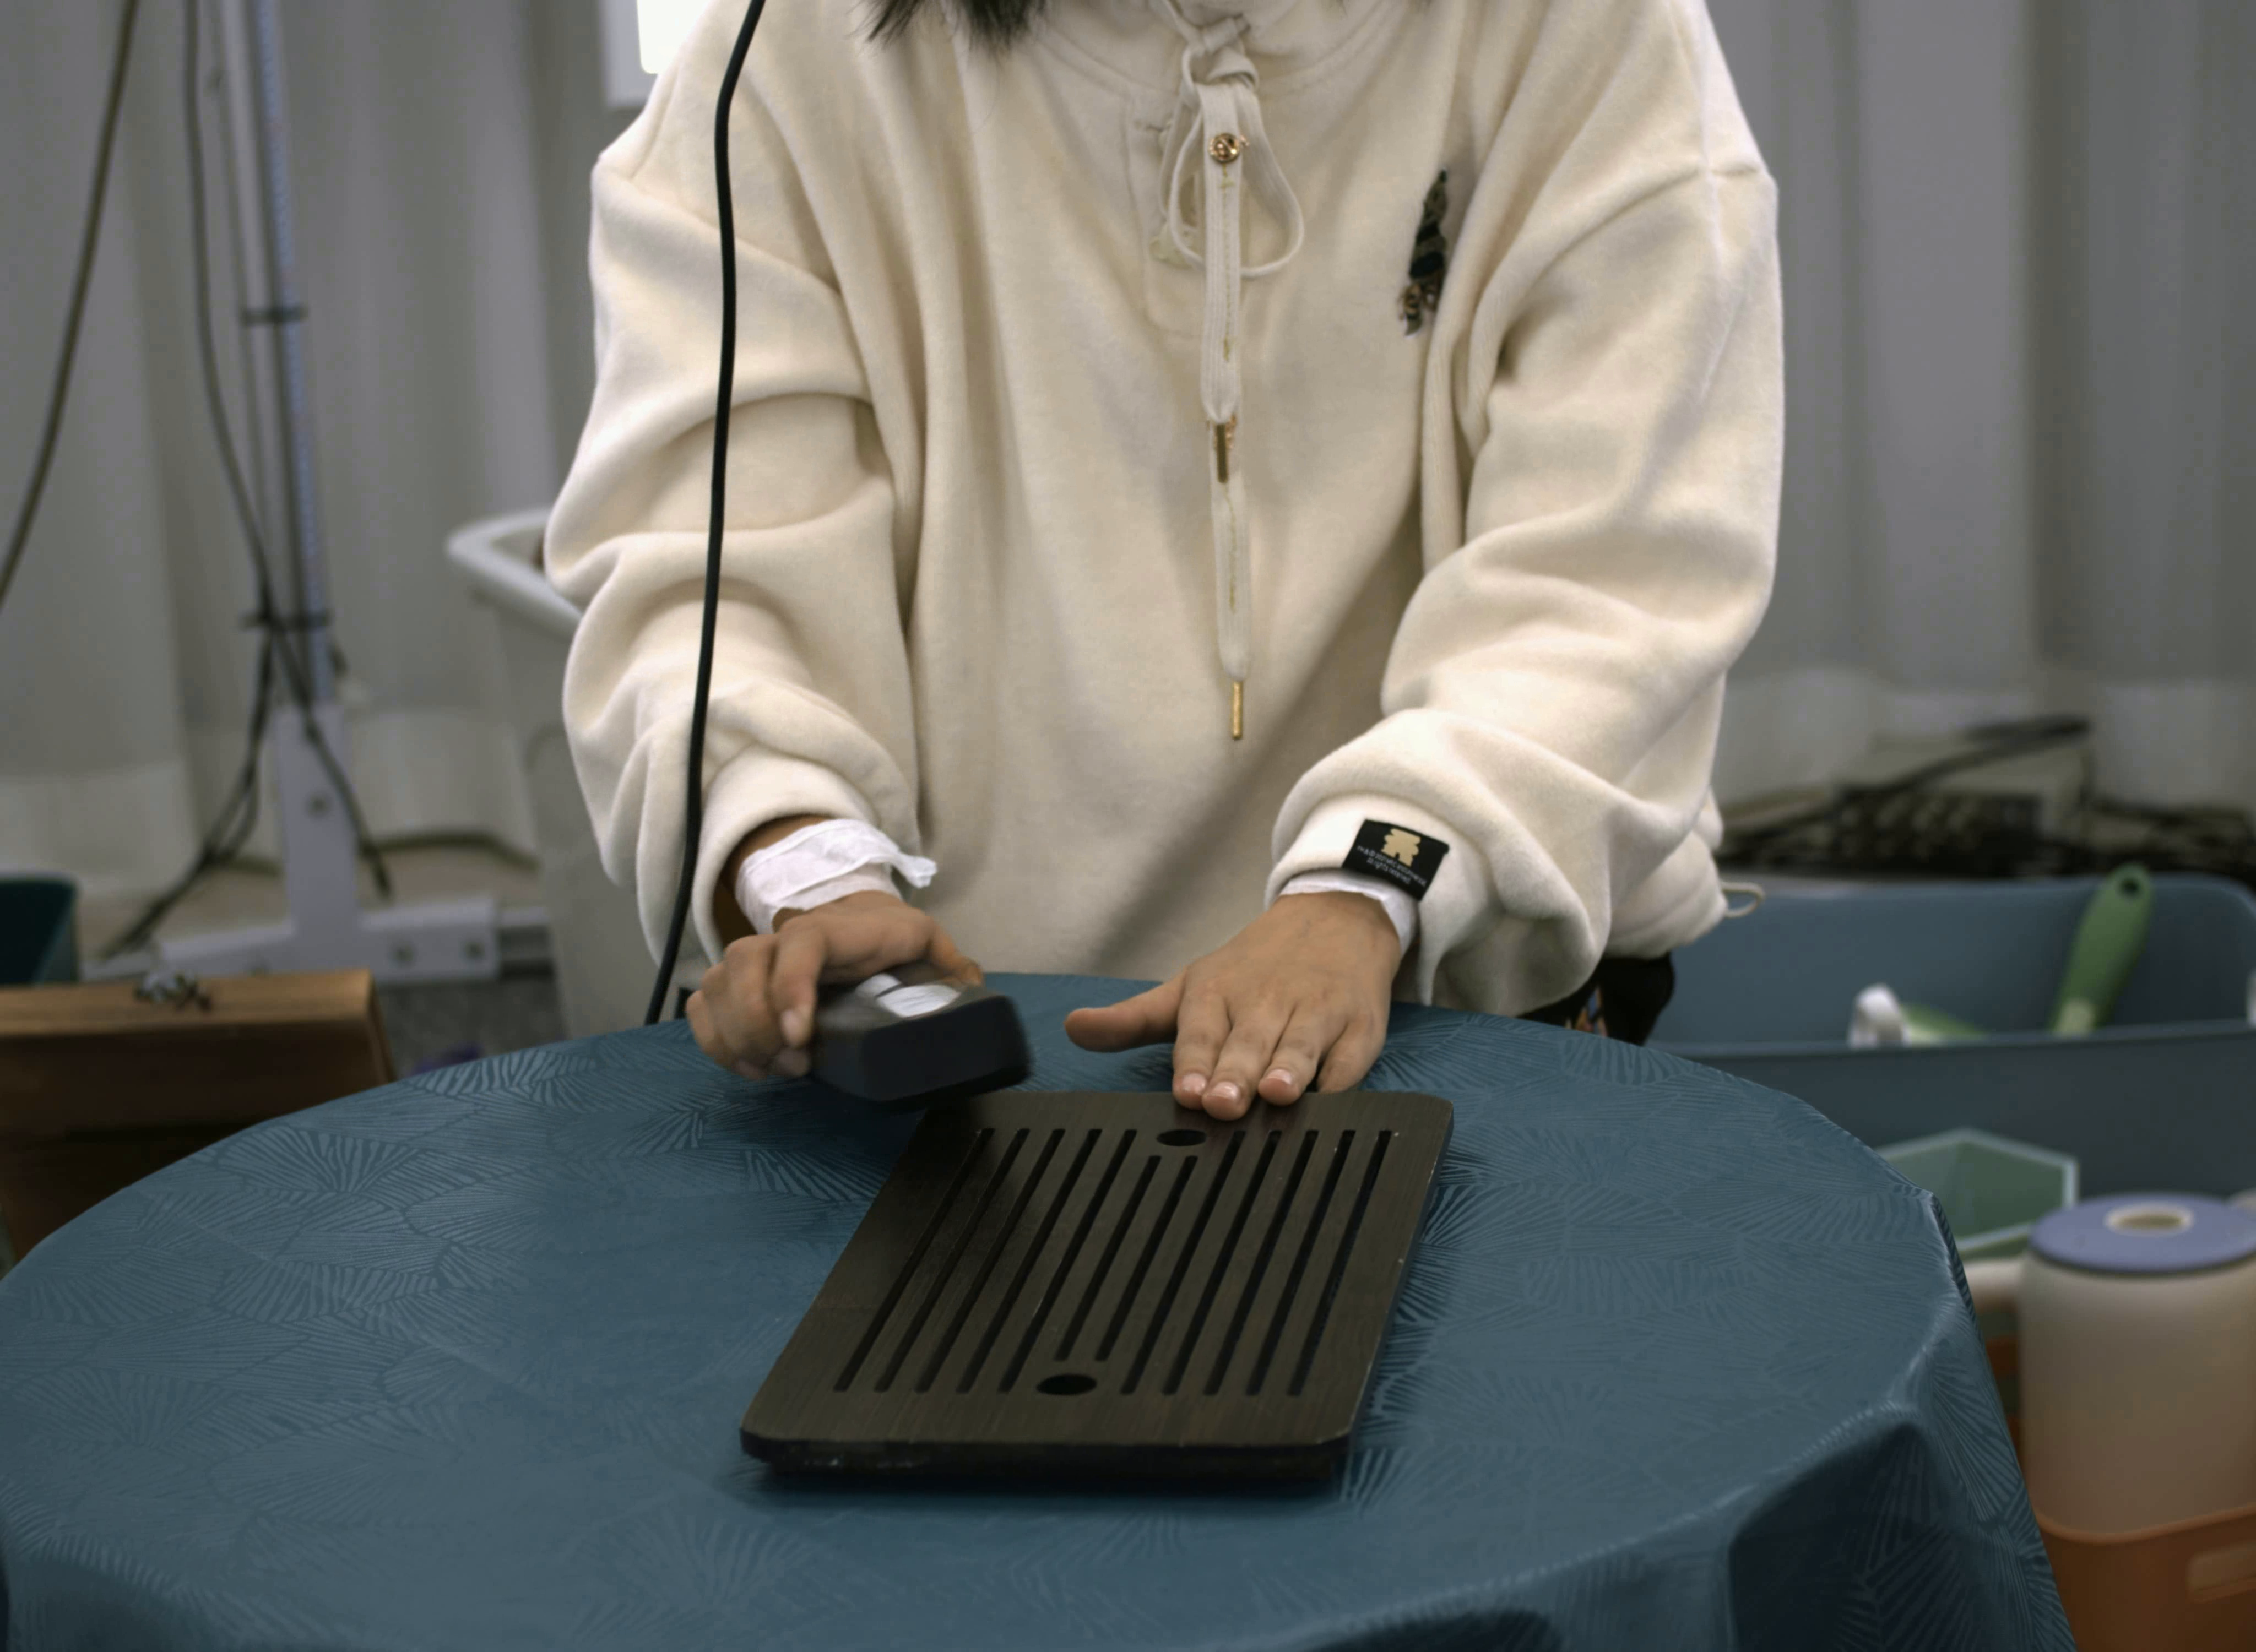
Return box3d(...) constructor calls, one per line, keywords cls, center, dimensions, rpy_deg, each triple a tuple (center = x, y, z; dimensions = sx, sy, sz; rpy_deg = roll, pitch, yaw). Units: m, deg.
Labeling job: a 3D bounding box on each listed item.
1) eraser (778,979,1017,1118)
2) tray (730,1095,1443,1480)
box3d(cls="eraser", center=(-0.074, 0.070, 1.749), dimensions=(0.053, 0.030, 0.126), rpy_deg=(-12, 5, -13))
box3d(cls="tray", center=(-0.004, 0.133, 1.610), dimensions=(0.170, 0.018, 0.307), rpy_deg=(0, 15, 9))
